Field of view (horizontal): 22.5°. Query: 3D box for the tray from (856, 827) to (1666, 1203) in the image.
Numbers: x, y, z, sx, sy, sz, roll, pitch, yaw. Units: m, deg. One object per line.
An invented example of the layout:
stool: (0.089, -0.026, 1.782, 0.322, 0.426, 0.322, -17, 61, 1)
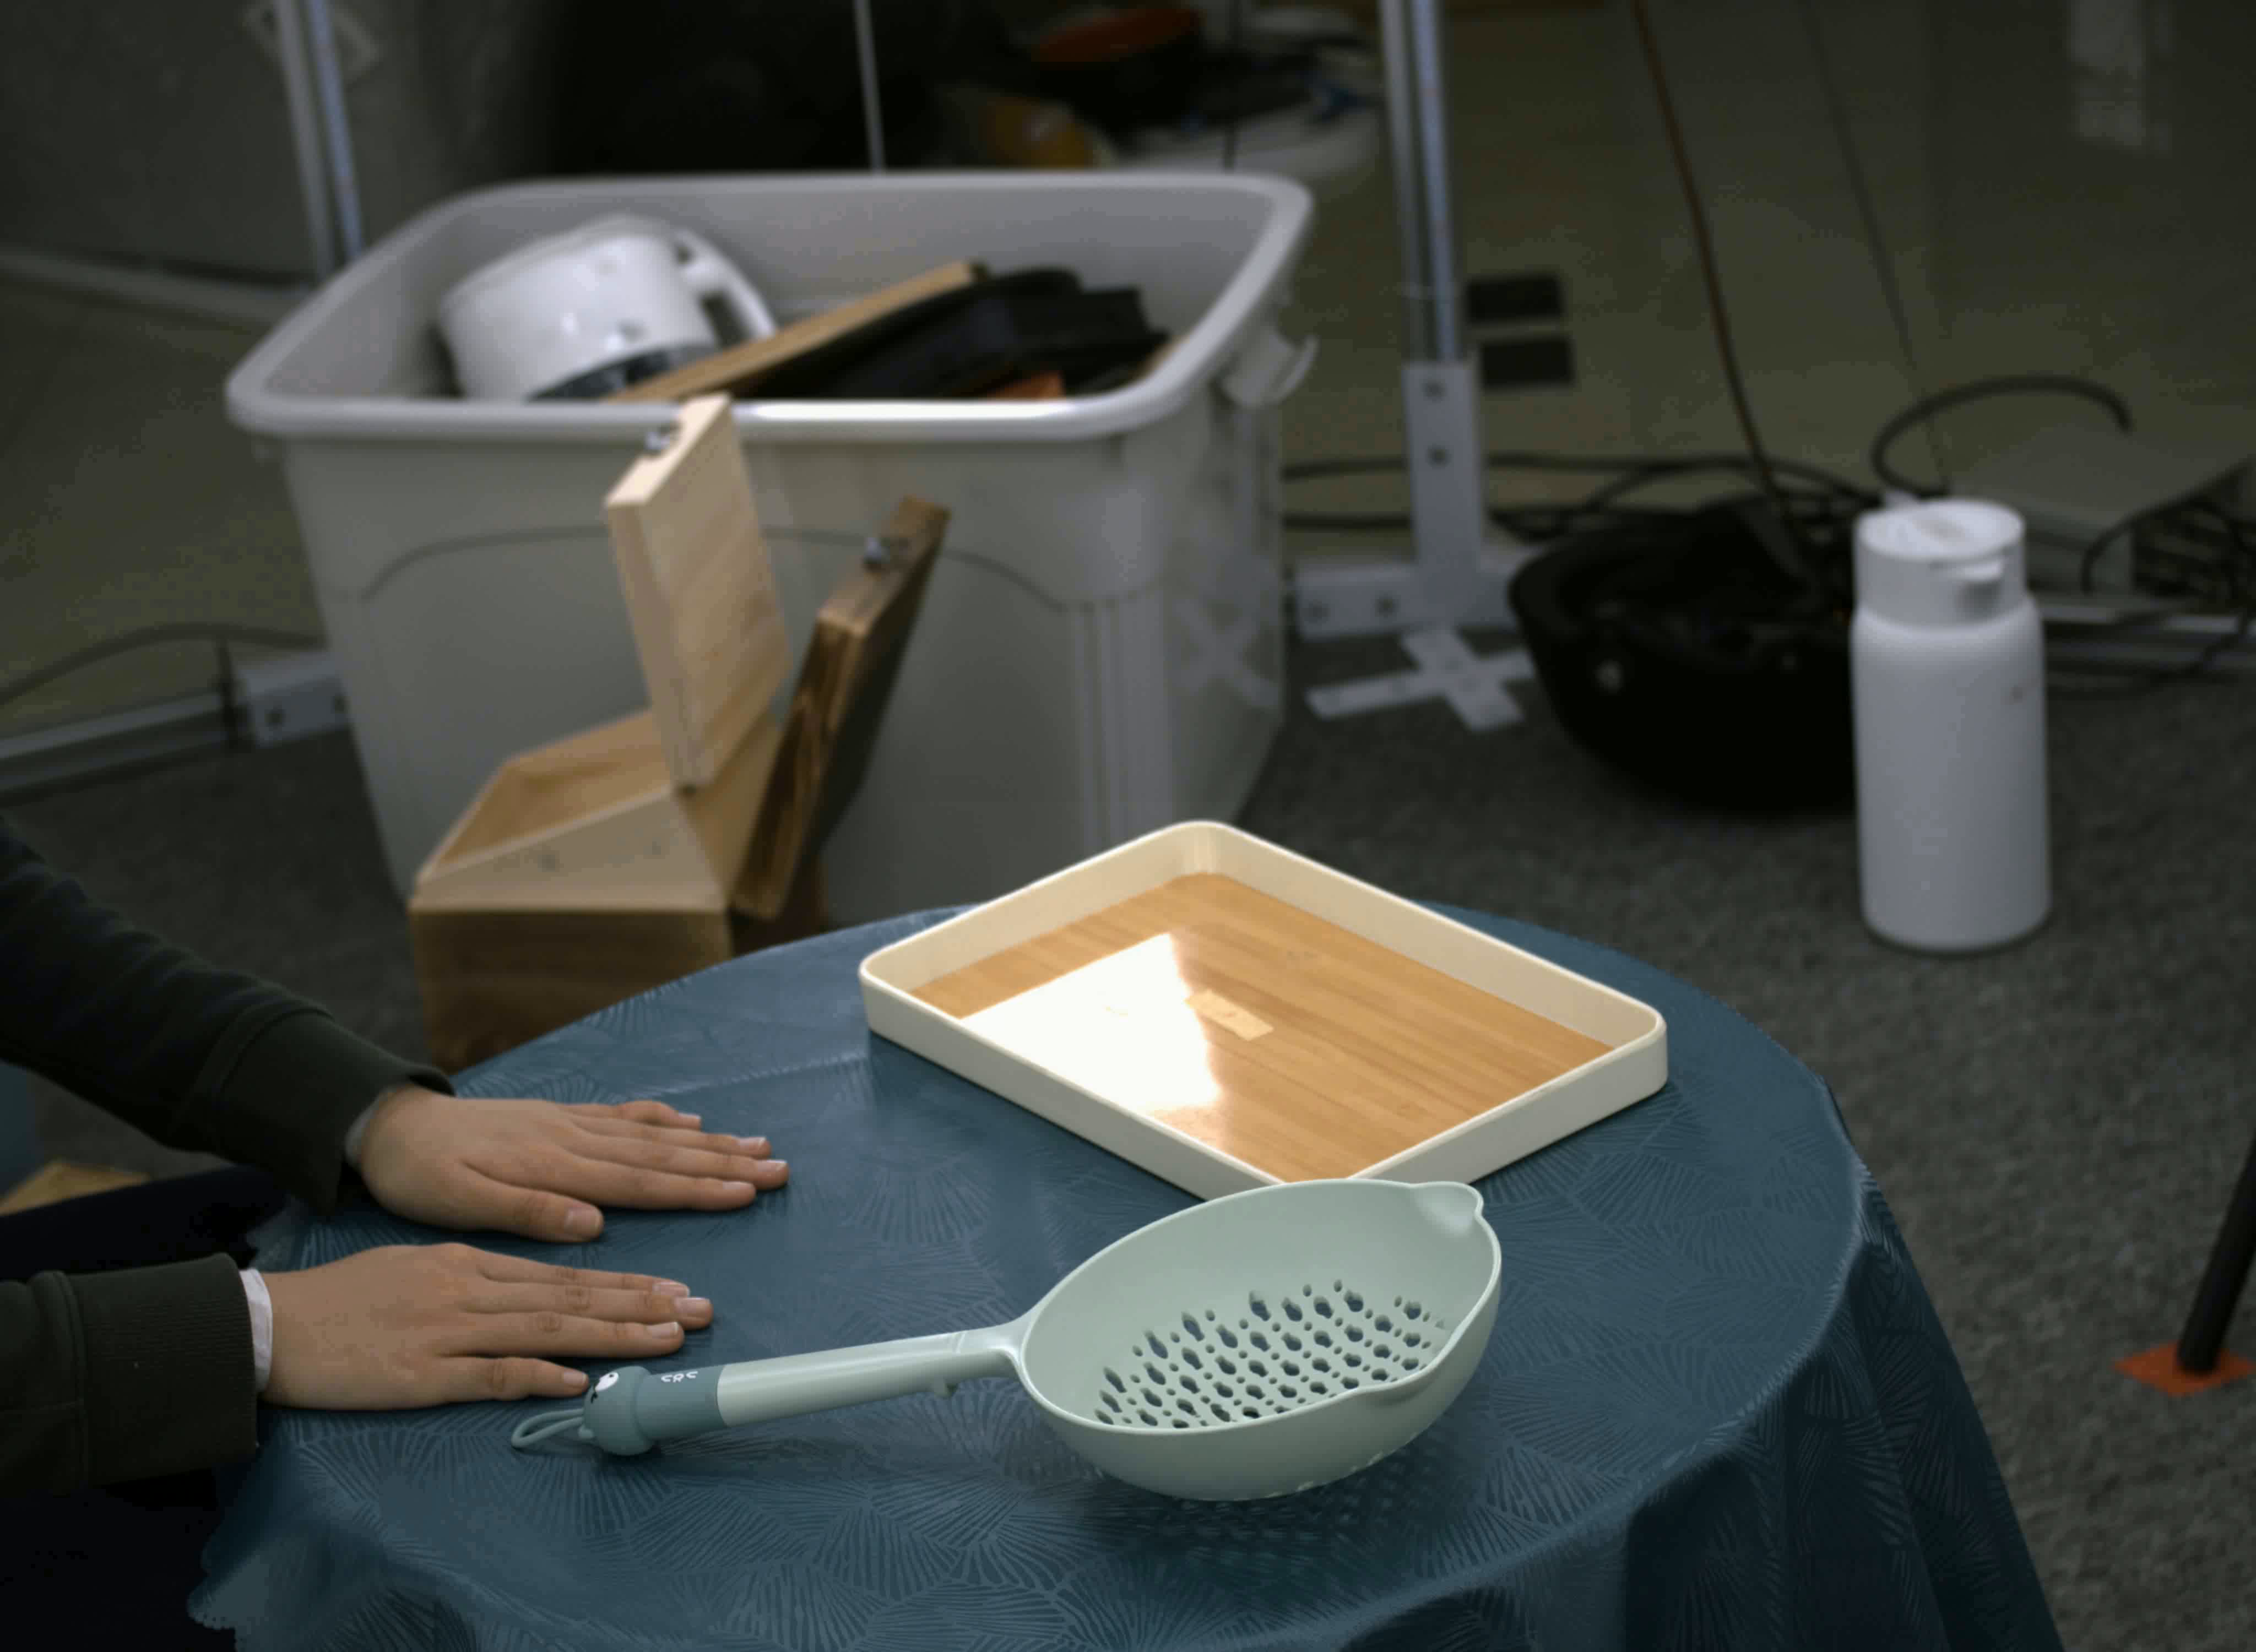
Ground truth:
tray: (0.049, 0.079, 2.239, 0.190, 0.028, 0.297, -23, 29, -32)

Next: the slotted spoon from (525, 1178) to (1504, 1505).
slotted spoon: (-0.045, 0.188, 1.979, 0.358, 0.076, 0.167, -1, 25, 12)
